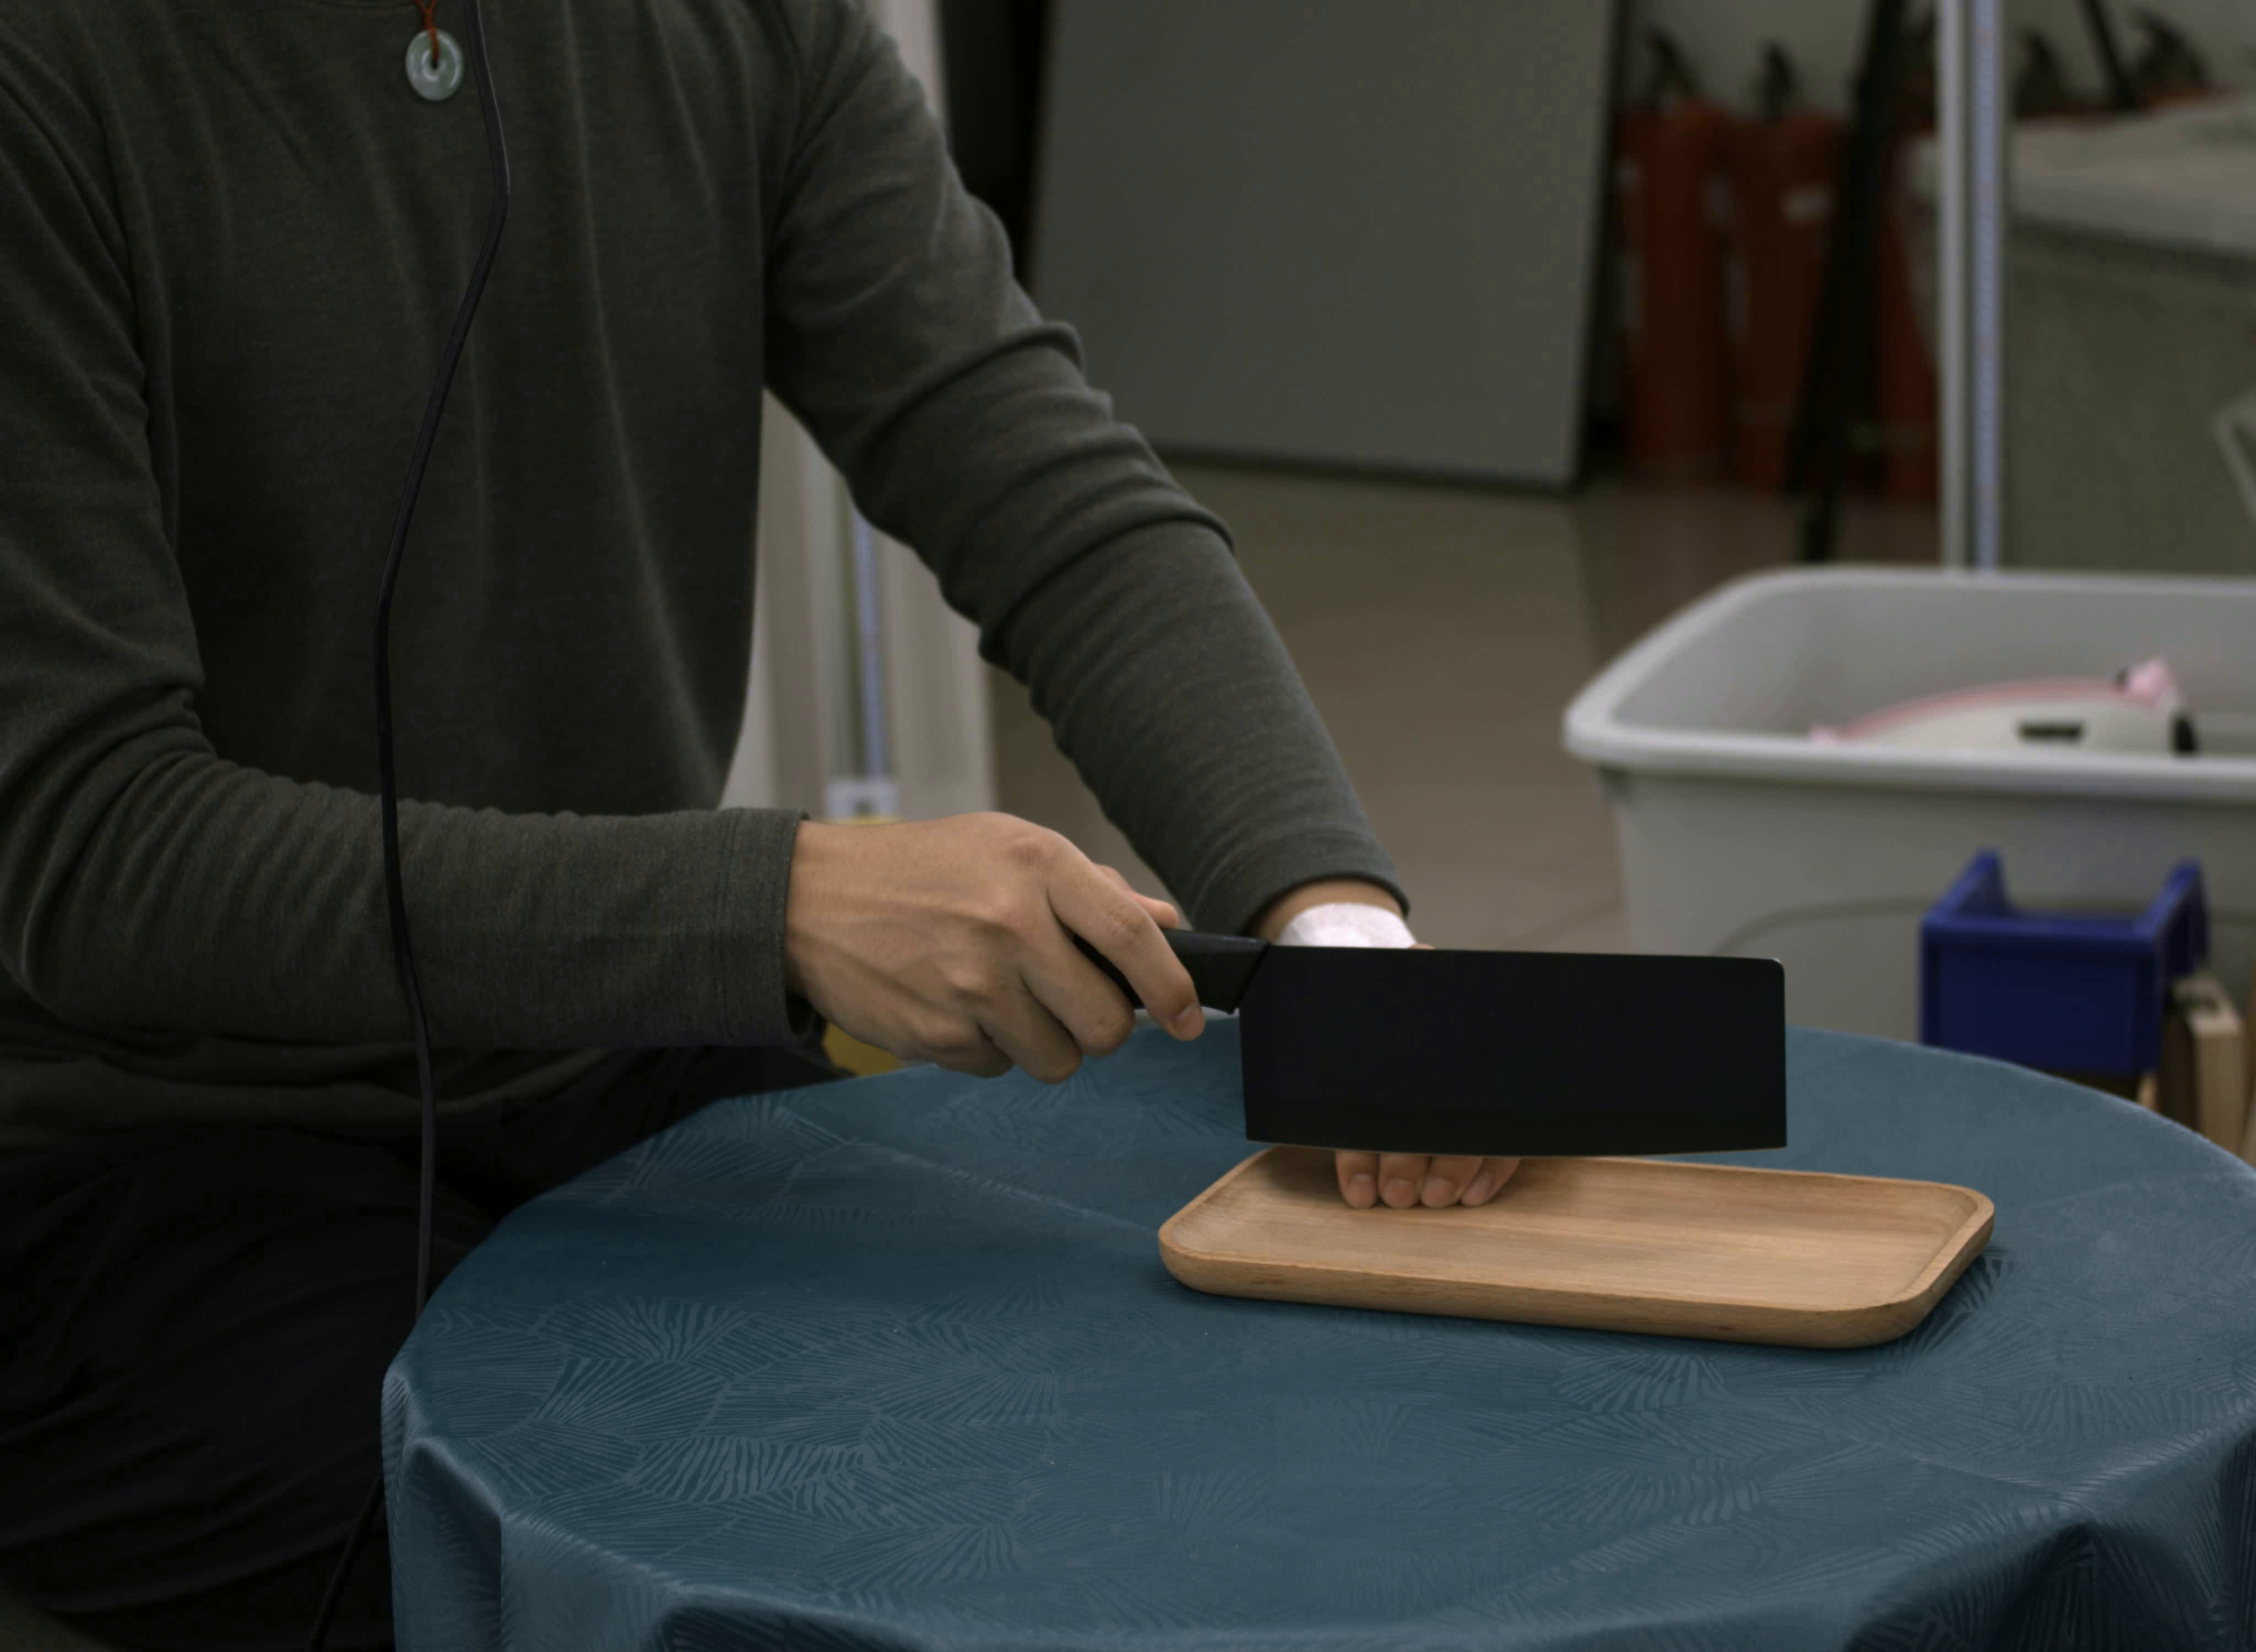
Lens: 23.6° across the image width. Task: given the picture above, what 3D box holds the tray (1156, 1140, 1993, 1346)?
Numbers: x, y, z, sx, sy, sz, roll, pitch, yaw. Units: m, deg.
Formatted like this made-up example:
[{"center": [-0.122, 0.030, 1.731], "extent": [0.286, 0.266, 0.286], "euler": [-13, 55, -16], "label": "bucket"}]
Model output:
[{"center": [0.138, 0.129, 1.671], "extent": [0.251, 0.023, 0.129], "euler": [1, 12, 27], "label": "tray"}]

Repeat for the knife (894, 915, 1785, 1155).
[{"center": [0.064, 0.064, 1.702], "extent": [0.302, 0.082, 0.020], "euler": [5, 9, 23], "label": "knife"}]
